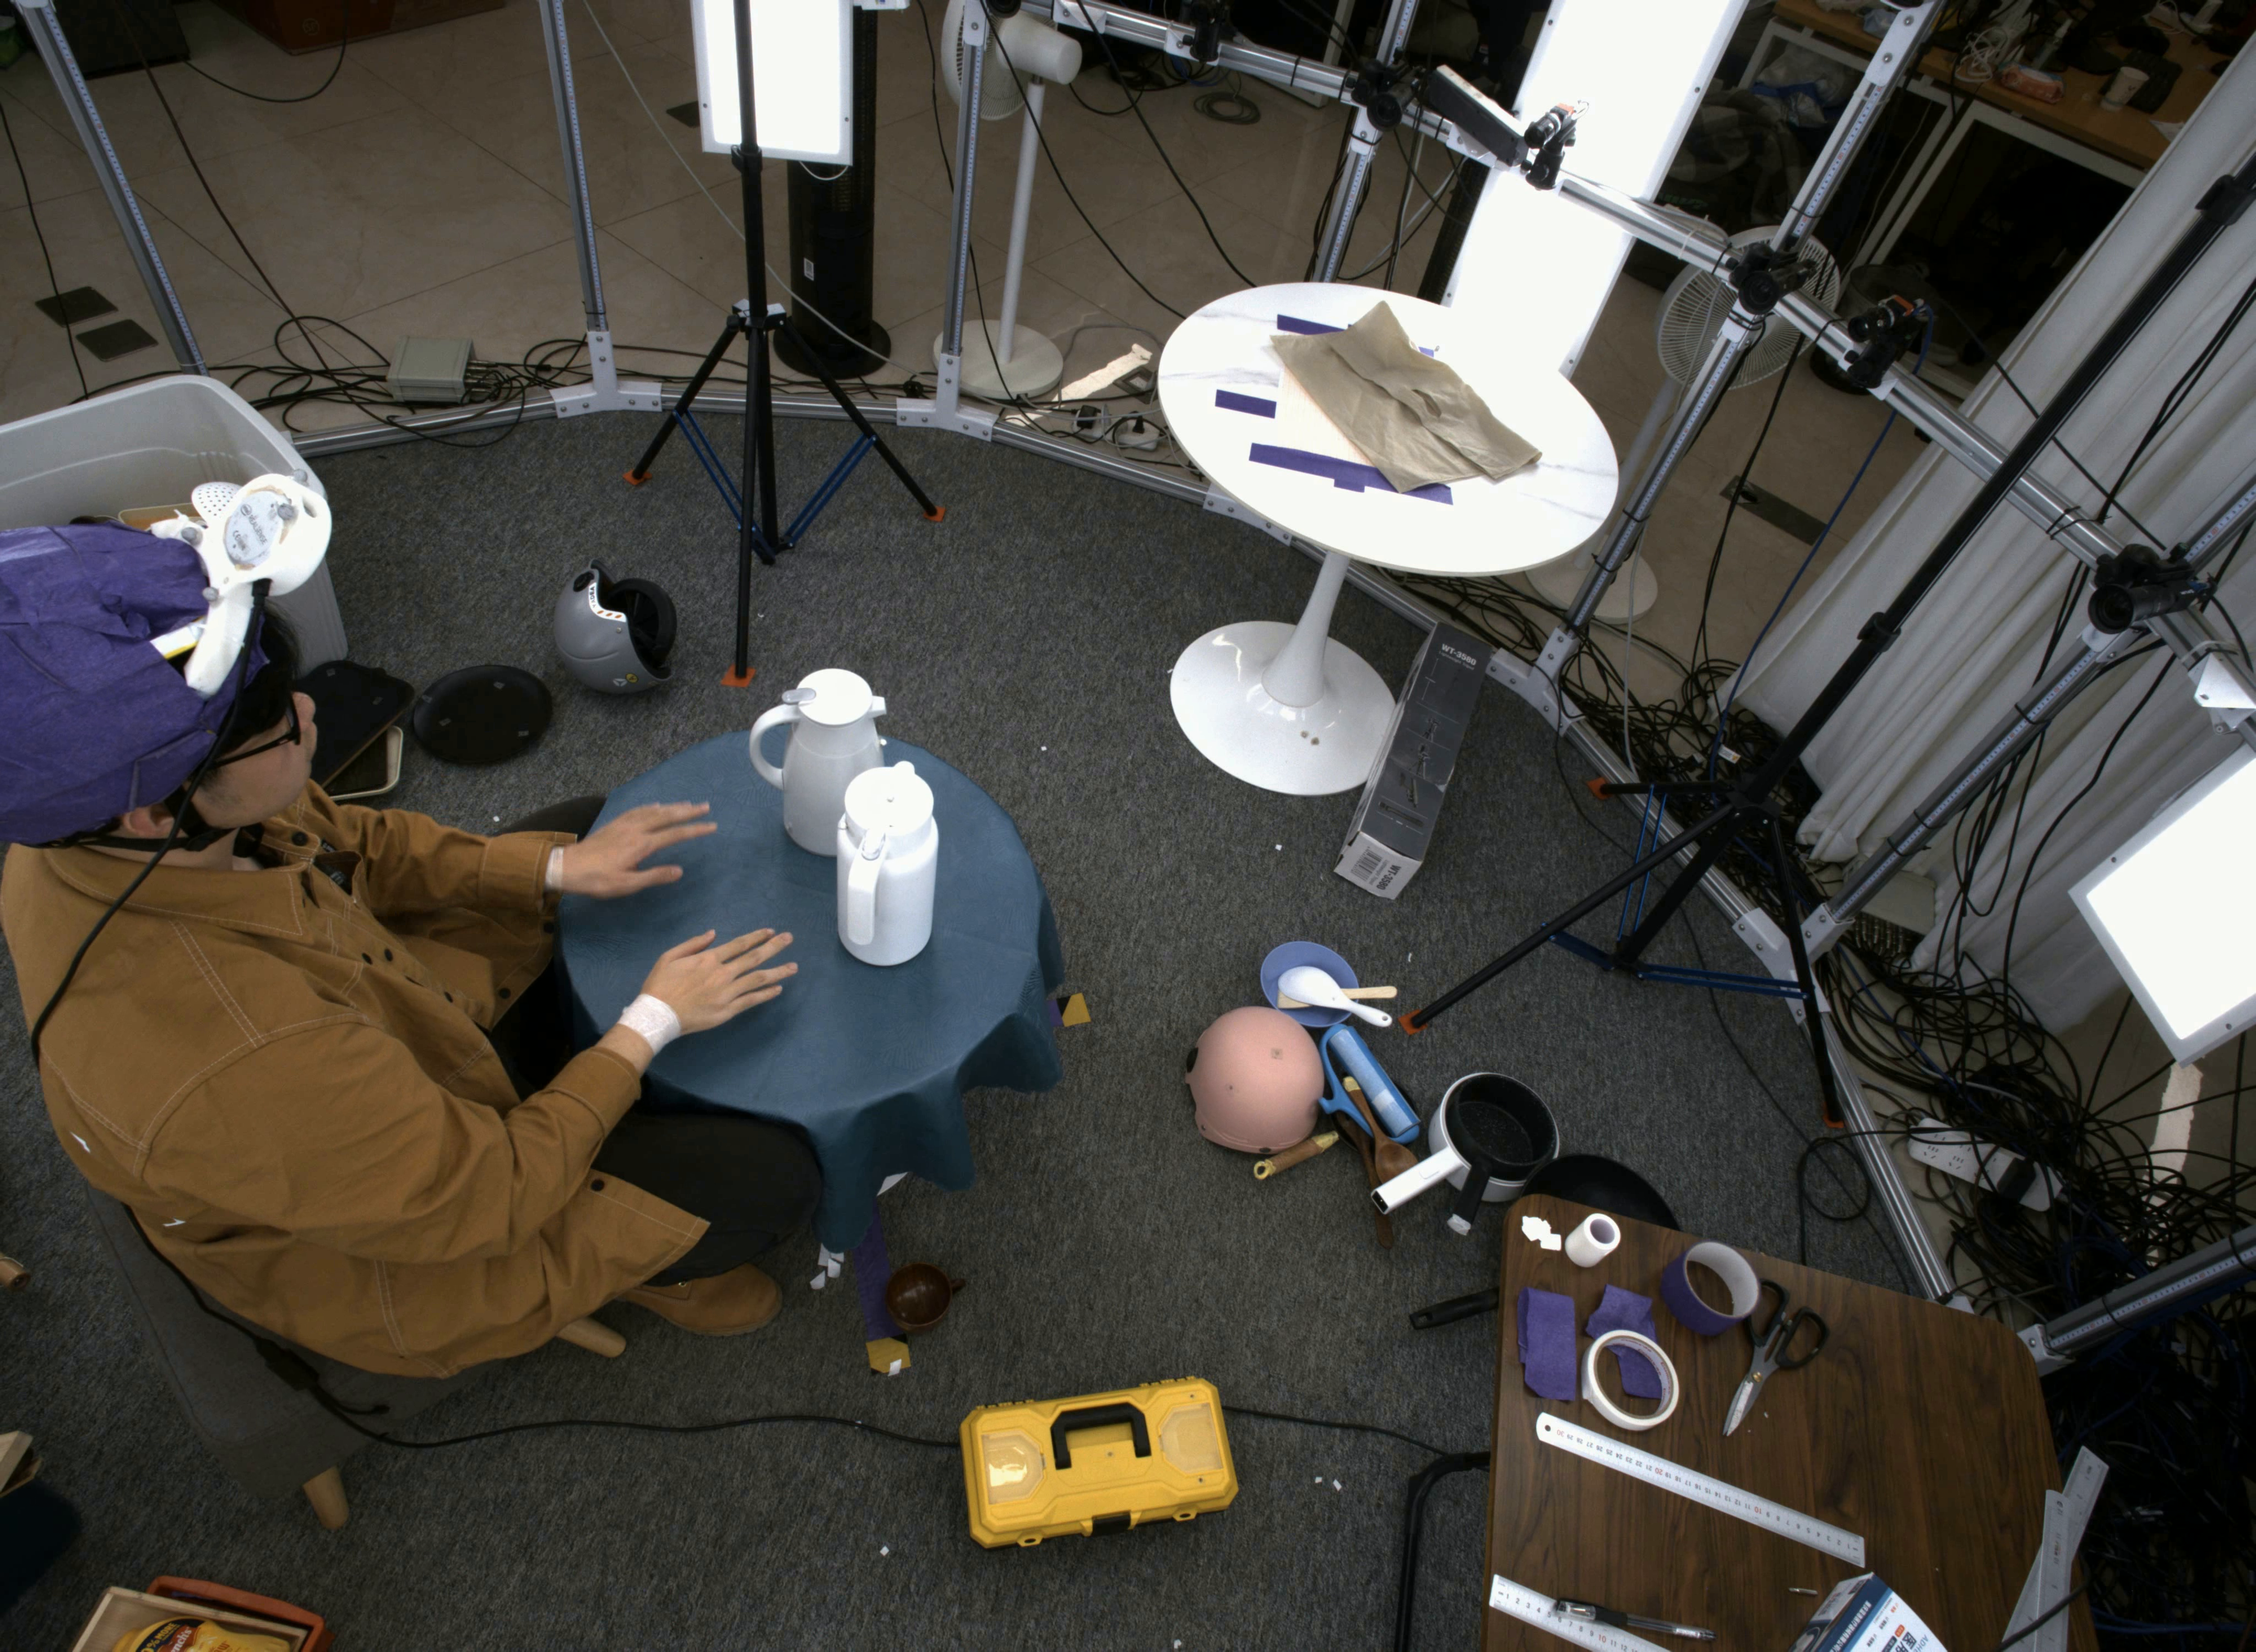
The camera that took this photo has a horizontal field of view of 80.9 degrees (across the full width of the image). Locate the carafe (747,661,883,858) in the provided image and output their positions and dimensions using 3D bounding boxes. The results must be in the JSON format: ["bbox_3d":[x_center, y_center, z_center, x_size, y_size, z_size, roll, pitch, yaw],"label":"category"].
[{"bbox_3d":[-0.392,-0.087,1.634,0.168,0.254,0.129,-5,53,-14],"label":"carafe"}]

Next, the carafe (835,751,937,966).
[{"bbox_3d":[-0.291,0.060,1.538,0.123,0.274,0.170,15,51,-3],"label":"carafe"}]
